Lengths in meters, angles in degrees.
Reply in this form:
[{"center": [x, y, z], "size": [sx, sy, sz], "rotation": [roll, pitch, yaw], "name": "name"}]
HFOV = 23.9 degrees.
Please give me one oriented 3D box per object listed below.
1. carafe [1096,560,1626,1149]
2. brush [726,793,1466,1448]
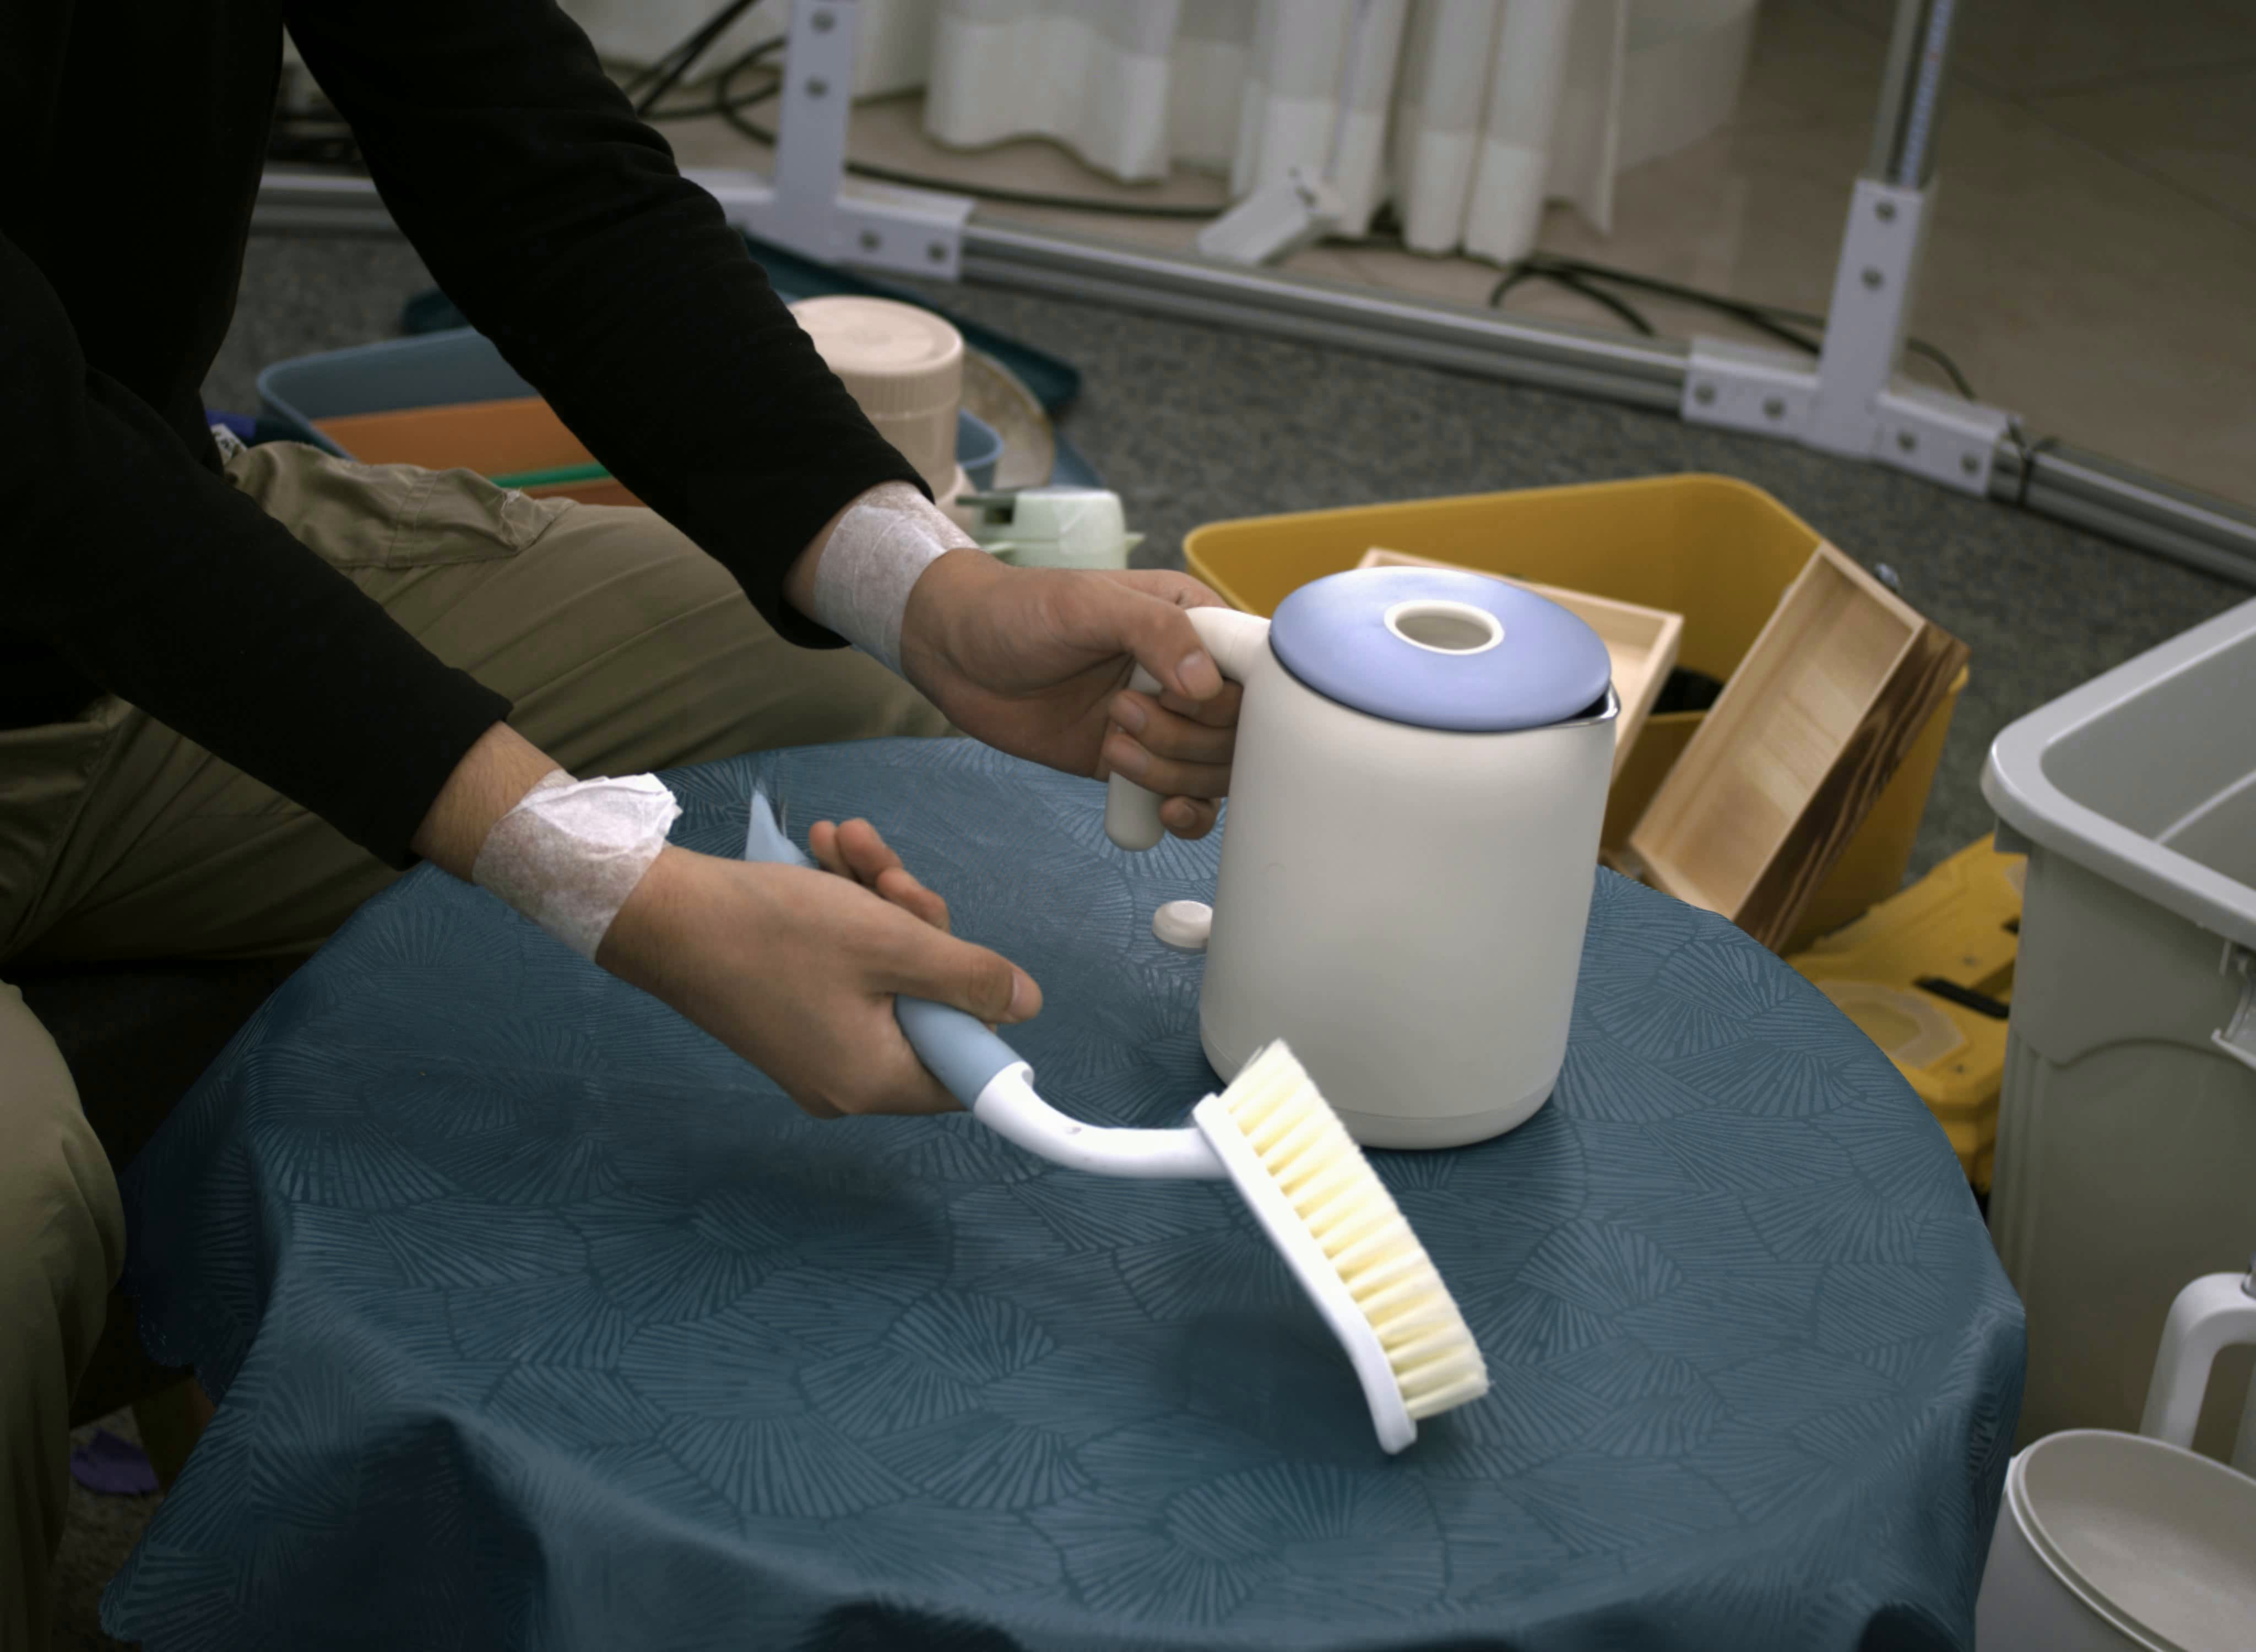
[{"center": [0.076, 0.002, 1.868], "size": [0.192, 0.182, 0.132], "rotation": [18, 28, 24], "name": "carafe"}, {"center": [-0.002, 0.071, 1.734], "size": [0.084, 0.083, 0.328], "rotation": [-23, 55, -42], "name": "brush"}]
